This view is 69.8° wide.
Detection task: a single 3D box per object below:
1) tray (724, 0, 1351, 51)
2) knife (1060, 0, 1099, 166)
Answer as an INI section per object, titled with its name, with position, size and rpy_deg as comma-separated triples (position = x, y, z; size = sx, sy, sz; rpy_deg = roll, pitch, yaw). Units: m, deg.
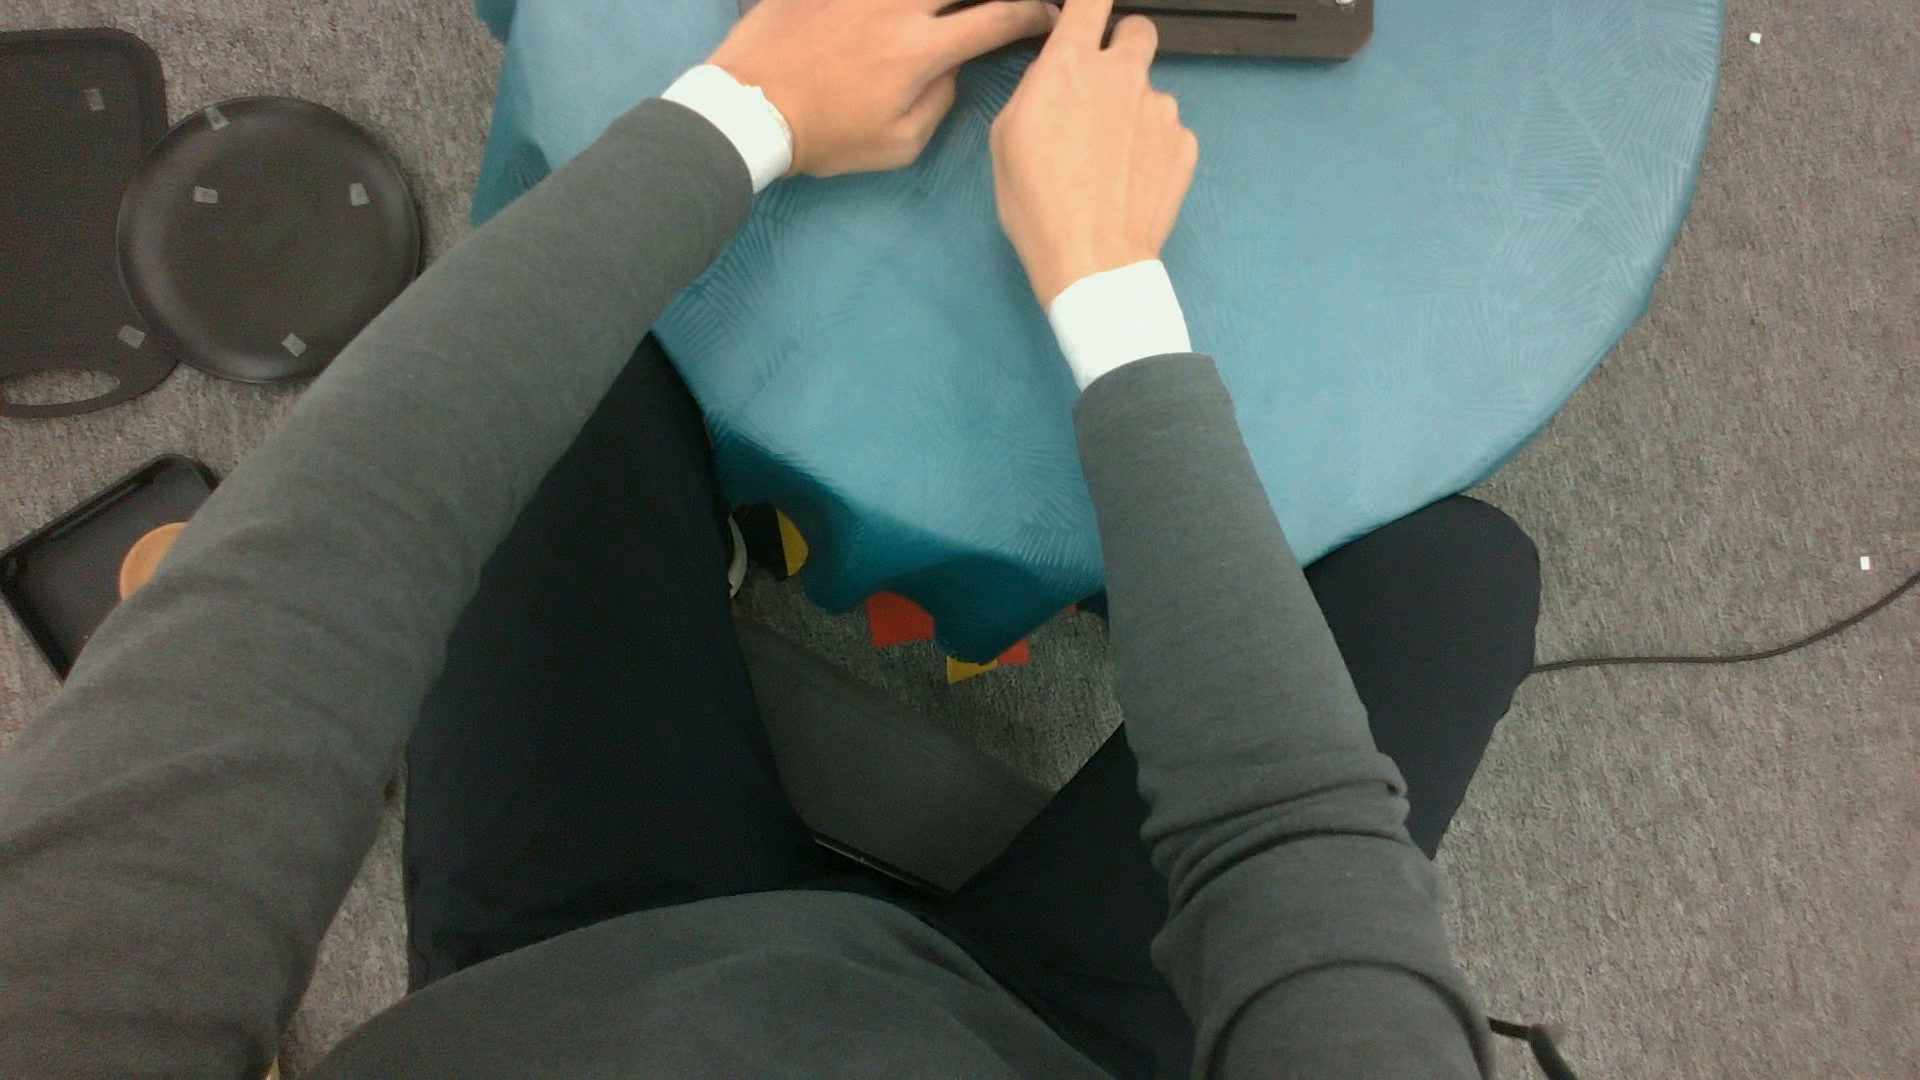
[tray]
position = 0.040, -0.326, 0.666
size = 0.306, 0.018, 0.170
rpy_deg = 0, 89, -6
[knife]
position = 0.054, -0.289, 0.638
size = 0.016, 0.024, 0.238
rpy_deg = 1, 80, -7
